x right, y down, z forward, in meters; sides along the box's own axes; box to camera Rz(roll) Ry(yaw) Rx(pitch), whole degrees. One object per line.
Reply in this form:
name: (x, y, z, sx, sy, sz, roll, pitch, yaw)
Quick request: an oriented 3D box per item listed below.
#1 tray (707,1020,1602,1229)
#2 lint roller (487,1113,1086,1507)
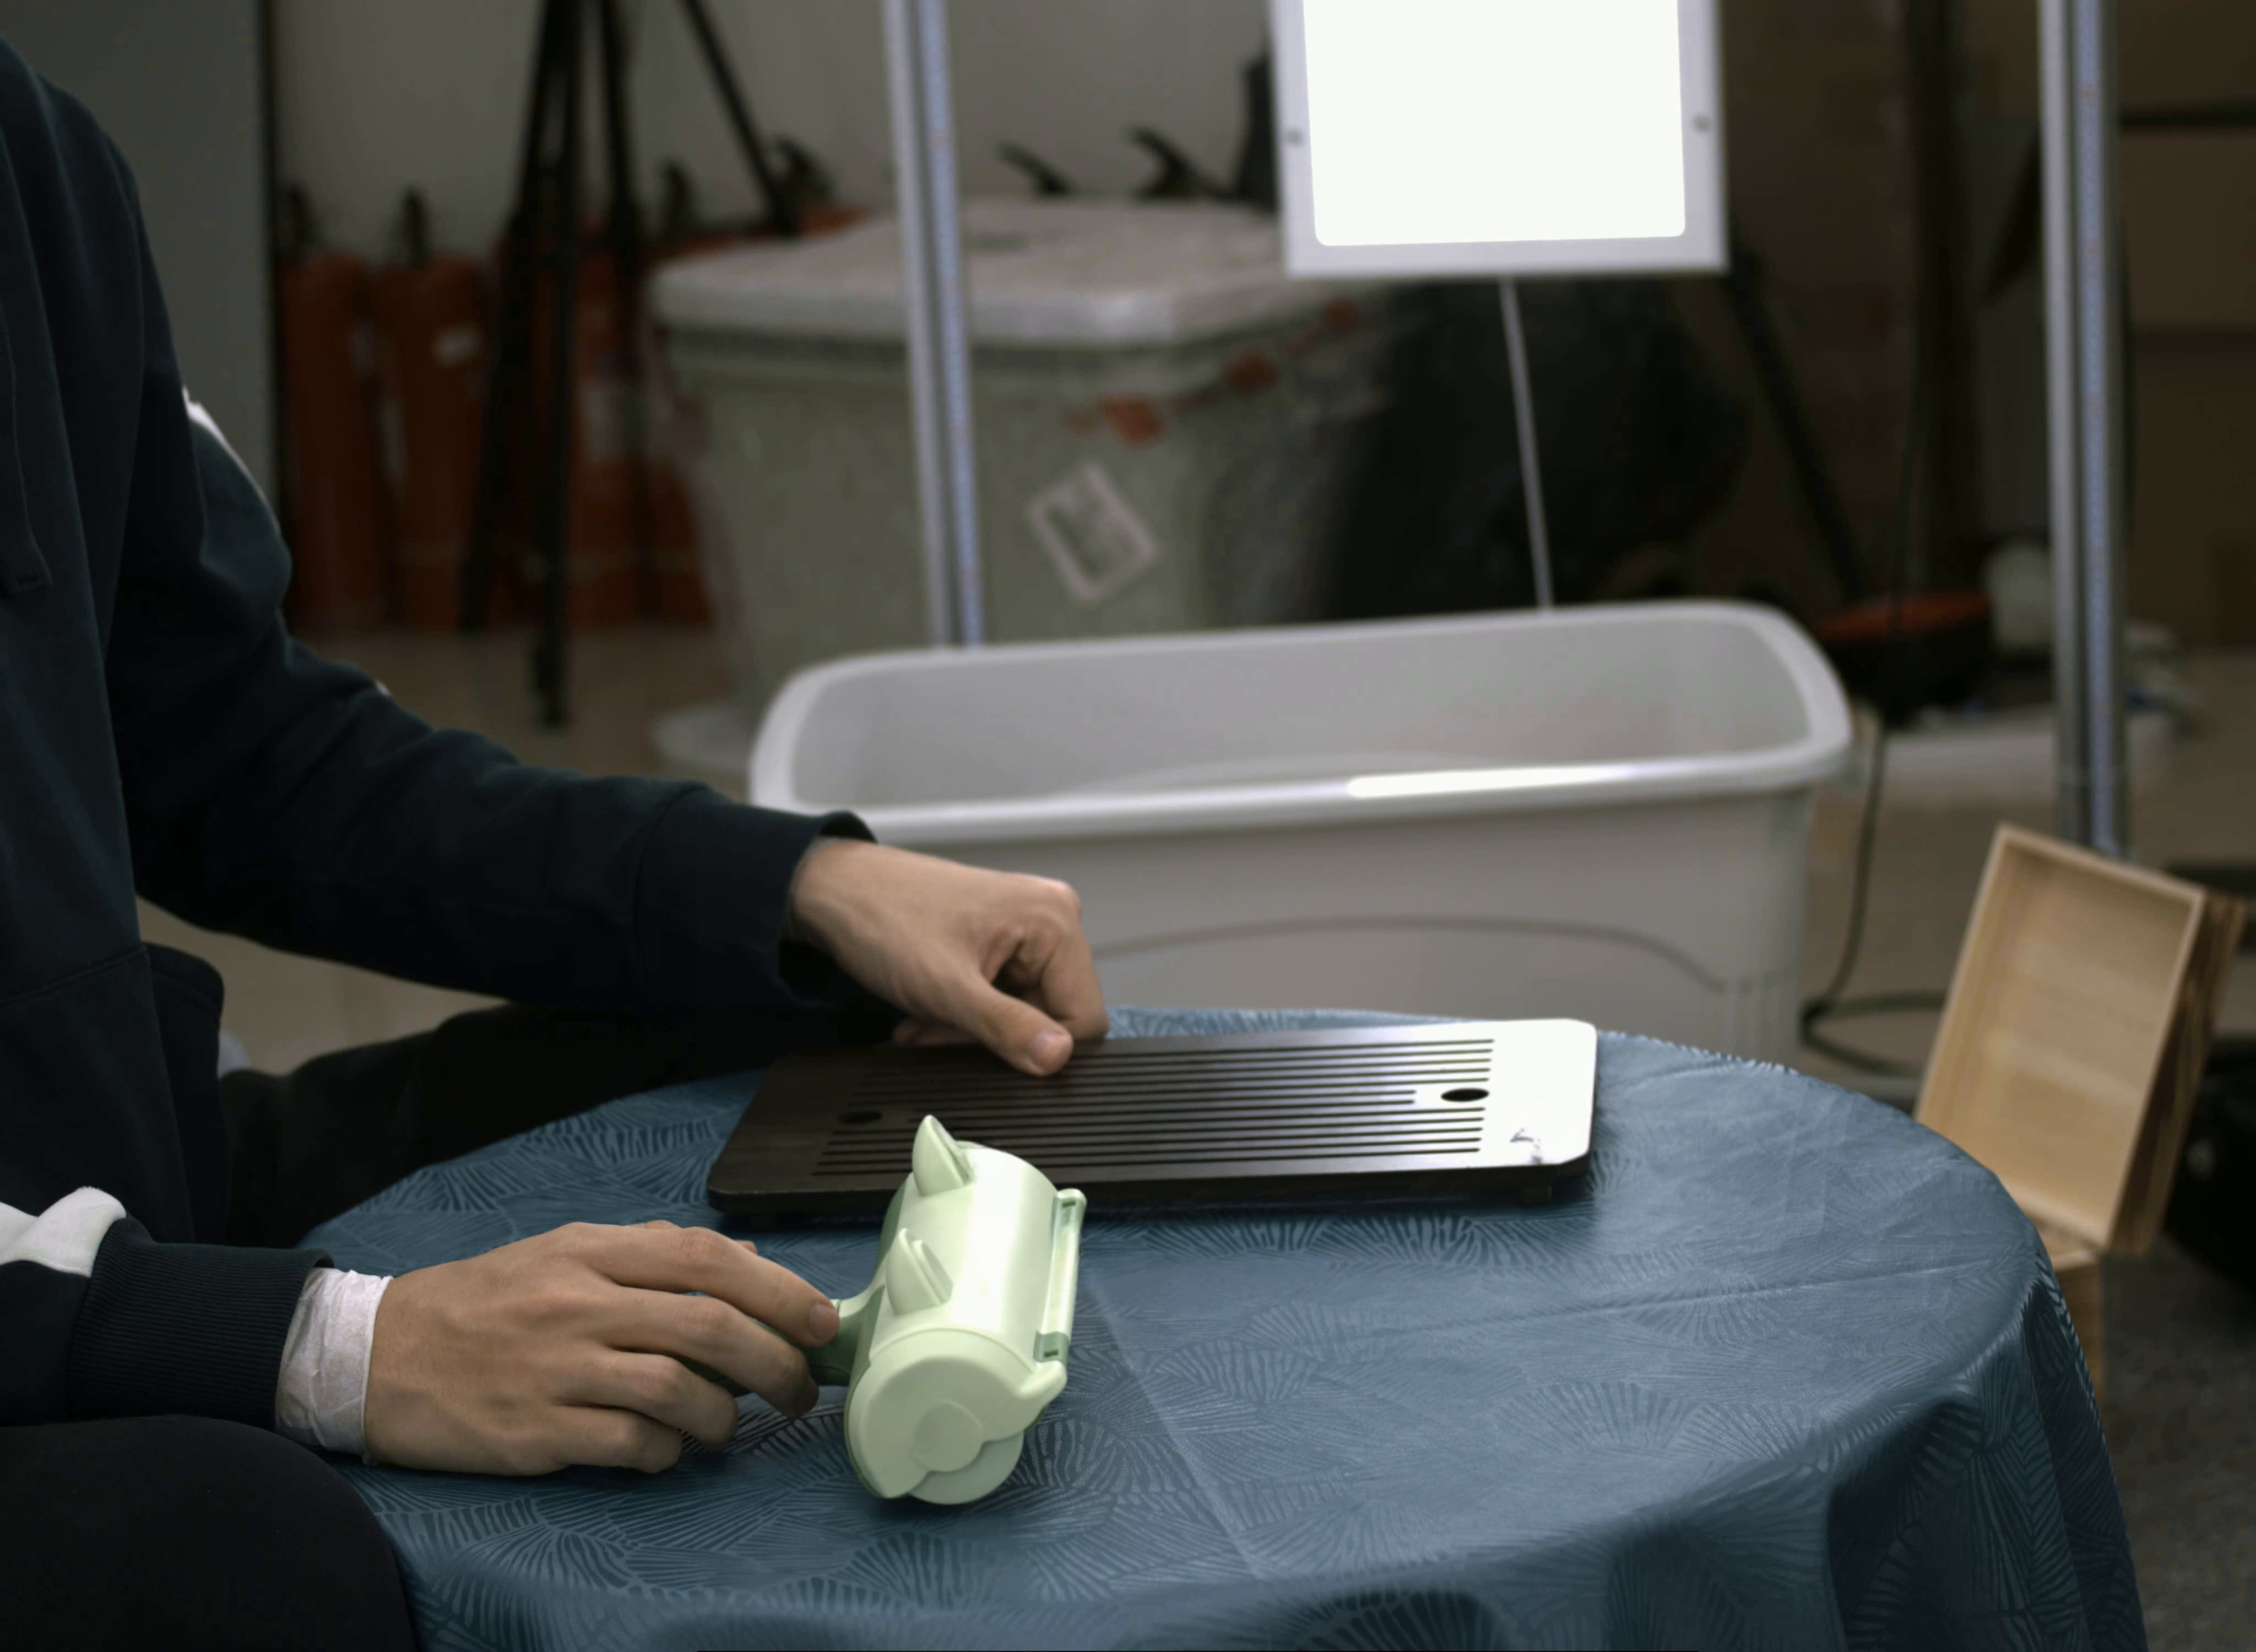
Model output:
tray: (0.014, 0.105, 1.939, 0.307, 0.019, 0.168, -3, 14, 9)
lint roller: (-0.107, 0.145, 1.692, 0.183, 0.082, 0.197, -1, 14, 3)
